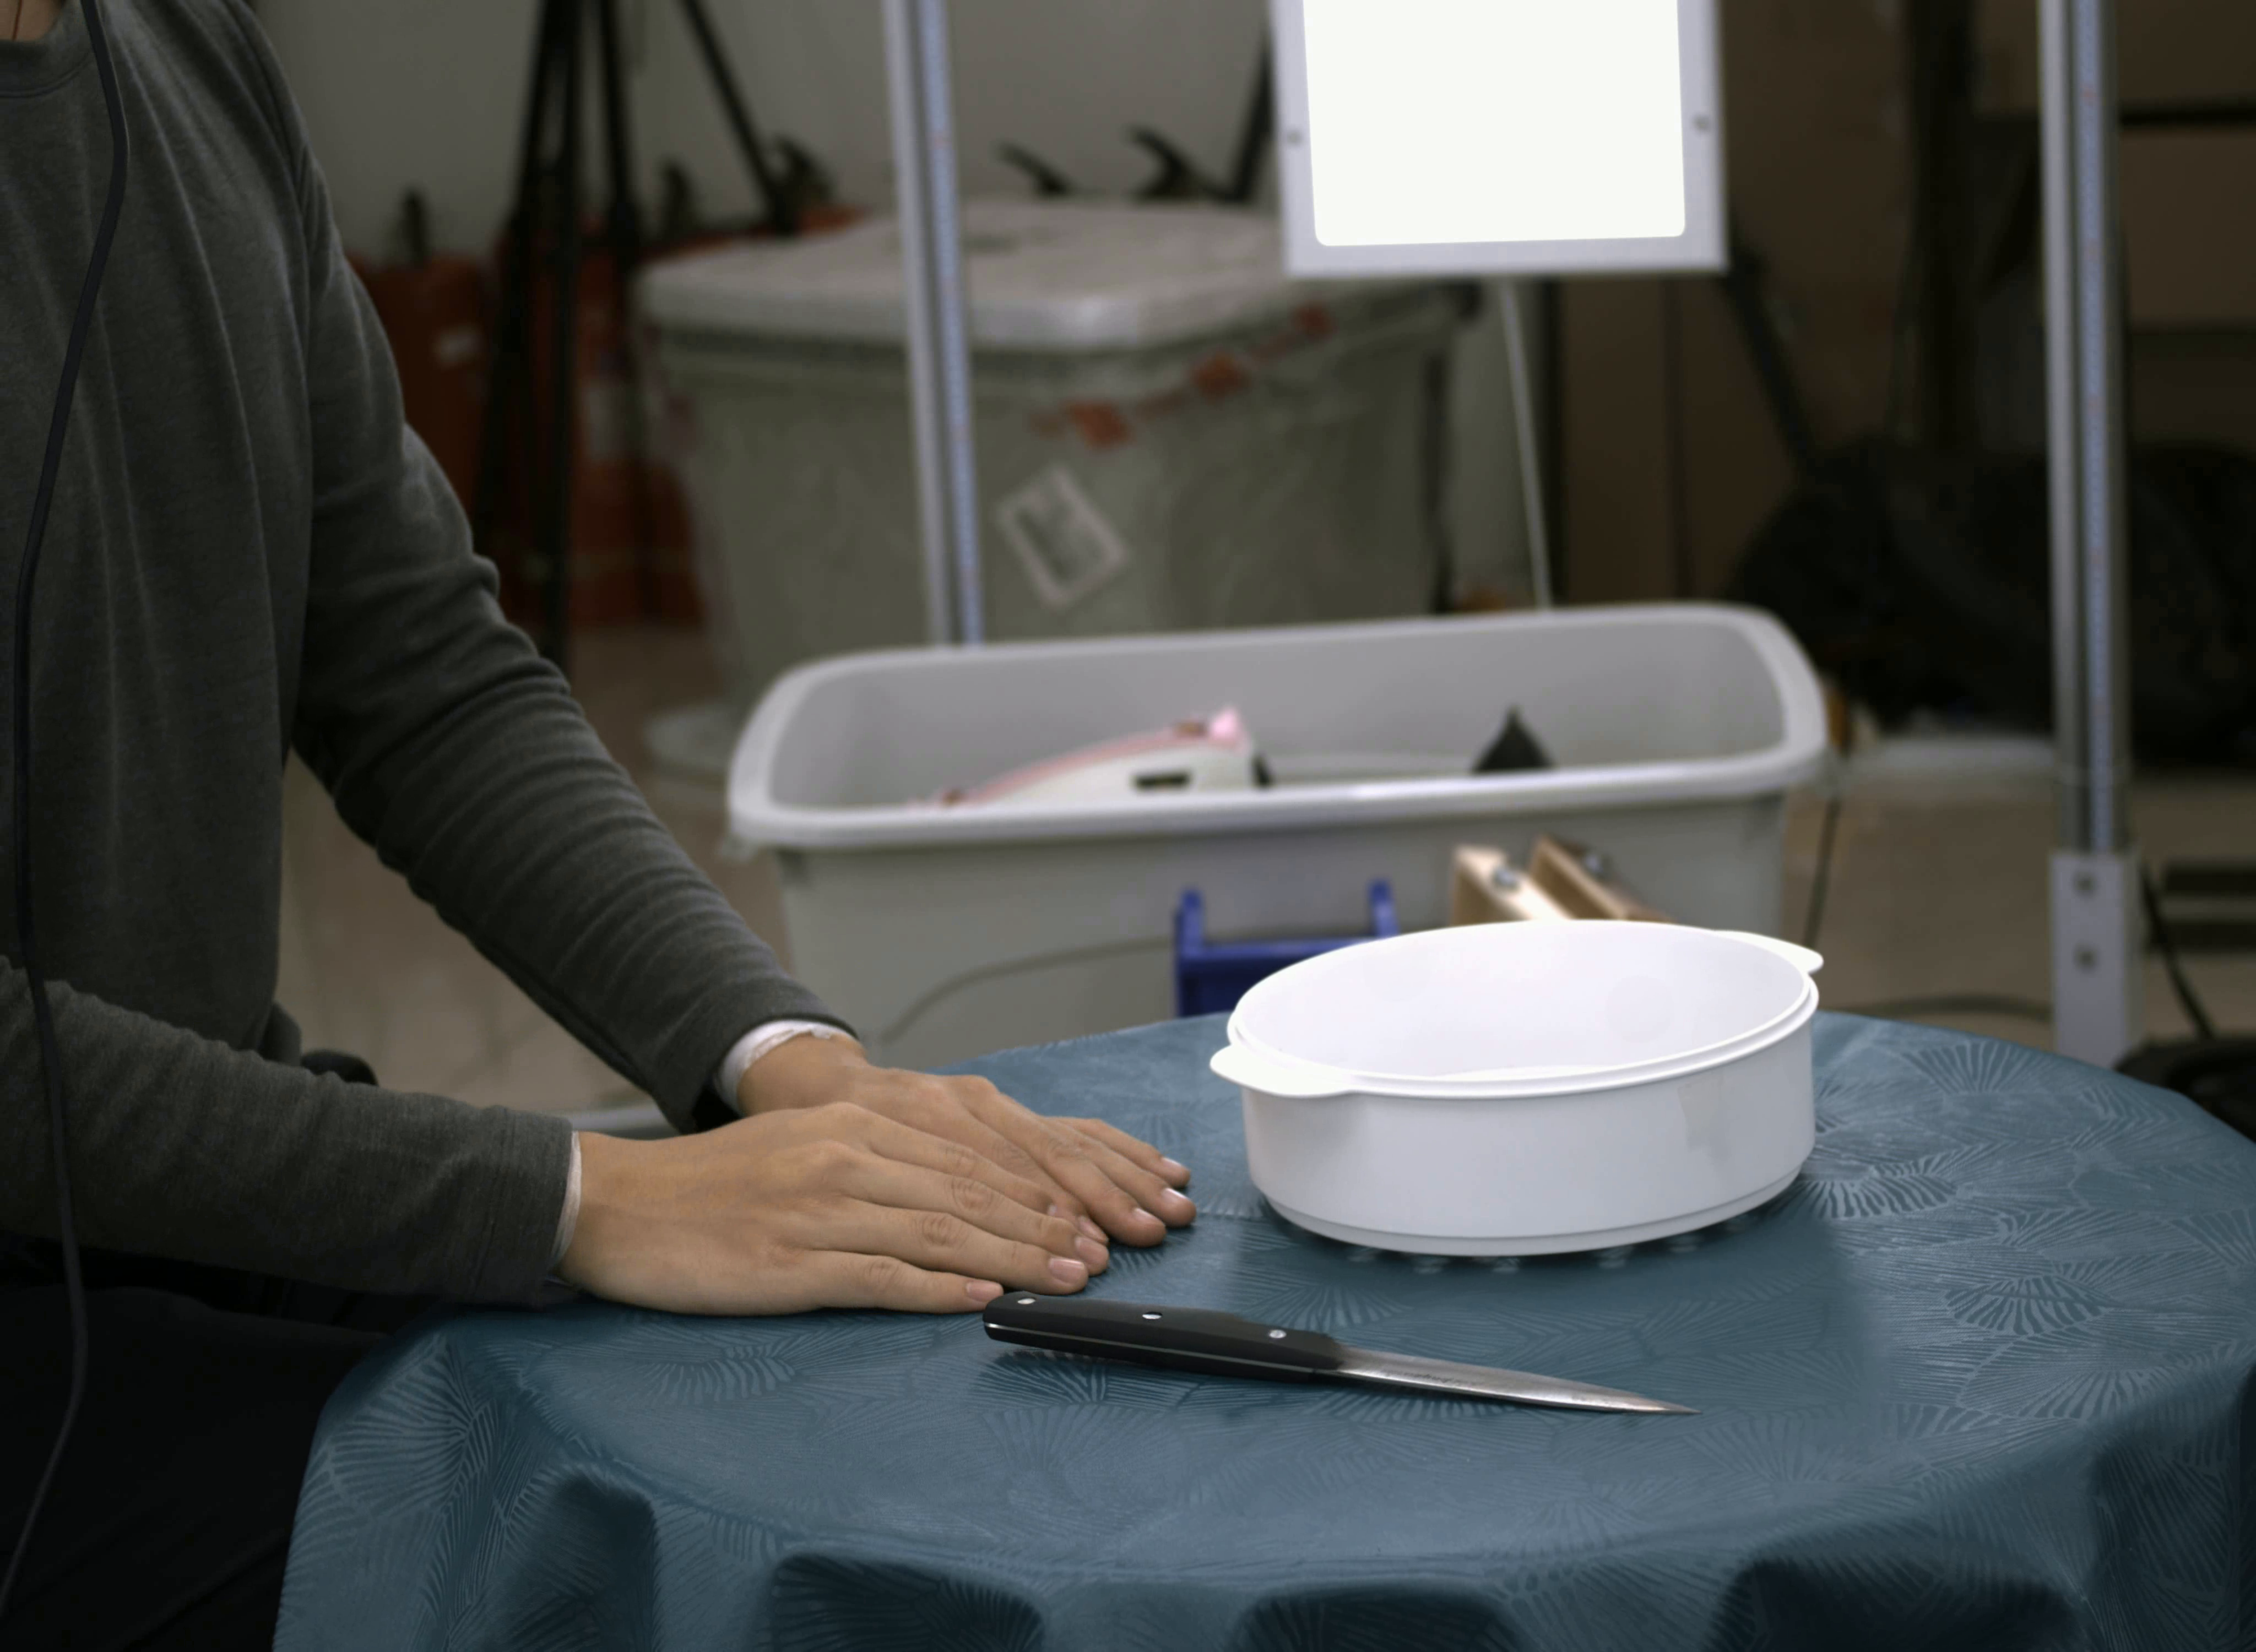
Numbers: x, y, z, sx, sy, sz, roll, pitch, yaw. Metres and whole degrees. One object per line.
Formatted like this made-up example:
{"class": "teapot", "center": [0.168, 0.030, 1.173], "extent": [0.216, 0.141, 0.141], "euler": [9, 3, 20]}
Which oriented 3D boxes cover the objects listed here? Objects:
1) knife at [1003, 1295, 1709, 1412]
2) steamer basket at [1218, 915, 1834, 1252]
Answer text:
{"class": "knife", "center": [0.066, 0.166, 1.695], "extent": [0.242, 0.016, 0.024], "euler": [5, 18, 27]}
{"class": "steamer basket", "center": [0.140, 0.088, 1.867], "extent": [0.225, 0.069, 0.205], "euler": [-13, 15, -27]}
